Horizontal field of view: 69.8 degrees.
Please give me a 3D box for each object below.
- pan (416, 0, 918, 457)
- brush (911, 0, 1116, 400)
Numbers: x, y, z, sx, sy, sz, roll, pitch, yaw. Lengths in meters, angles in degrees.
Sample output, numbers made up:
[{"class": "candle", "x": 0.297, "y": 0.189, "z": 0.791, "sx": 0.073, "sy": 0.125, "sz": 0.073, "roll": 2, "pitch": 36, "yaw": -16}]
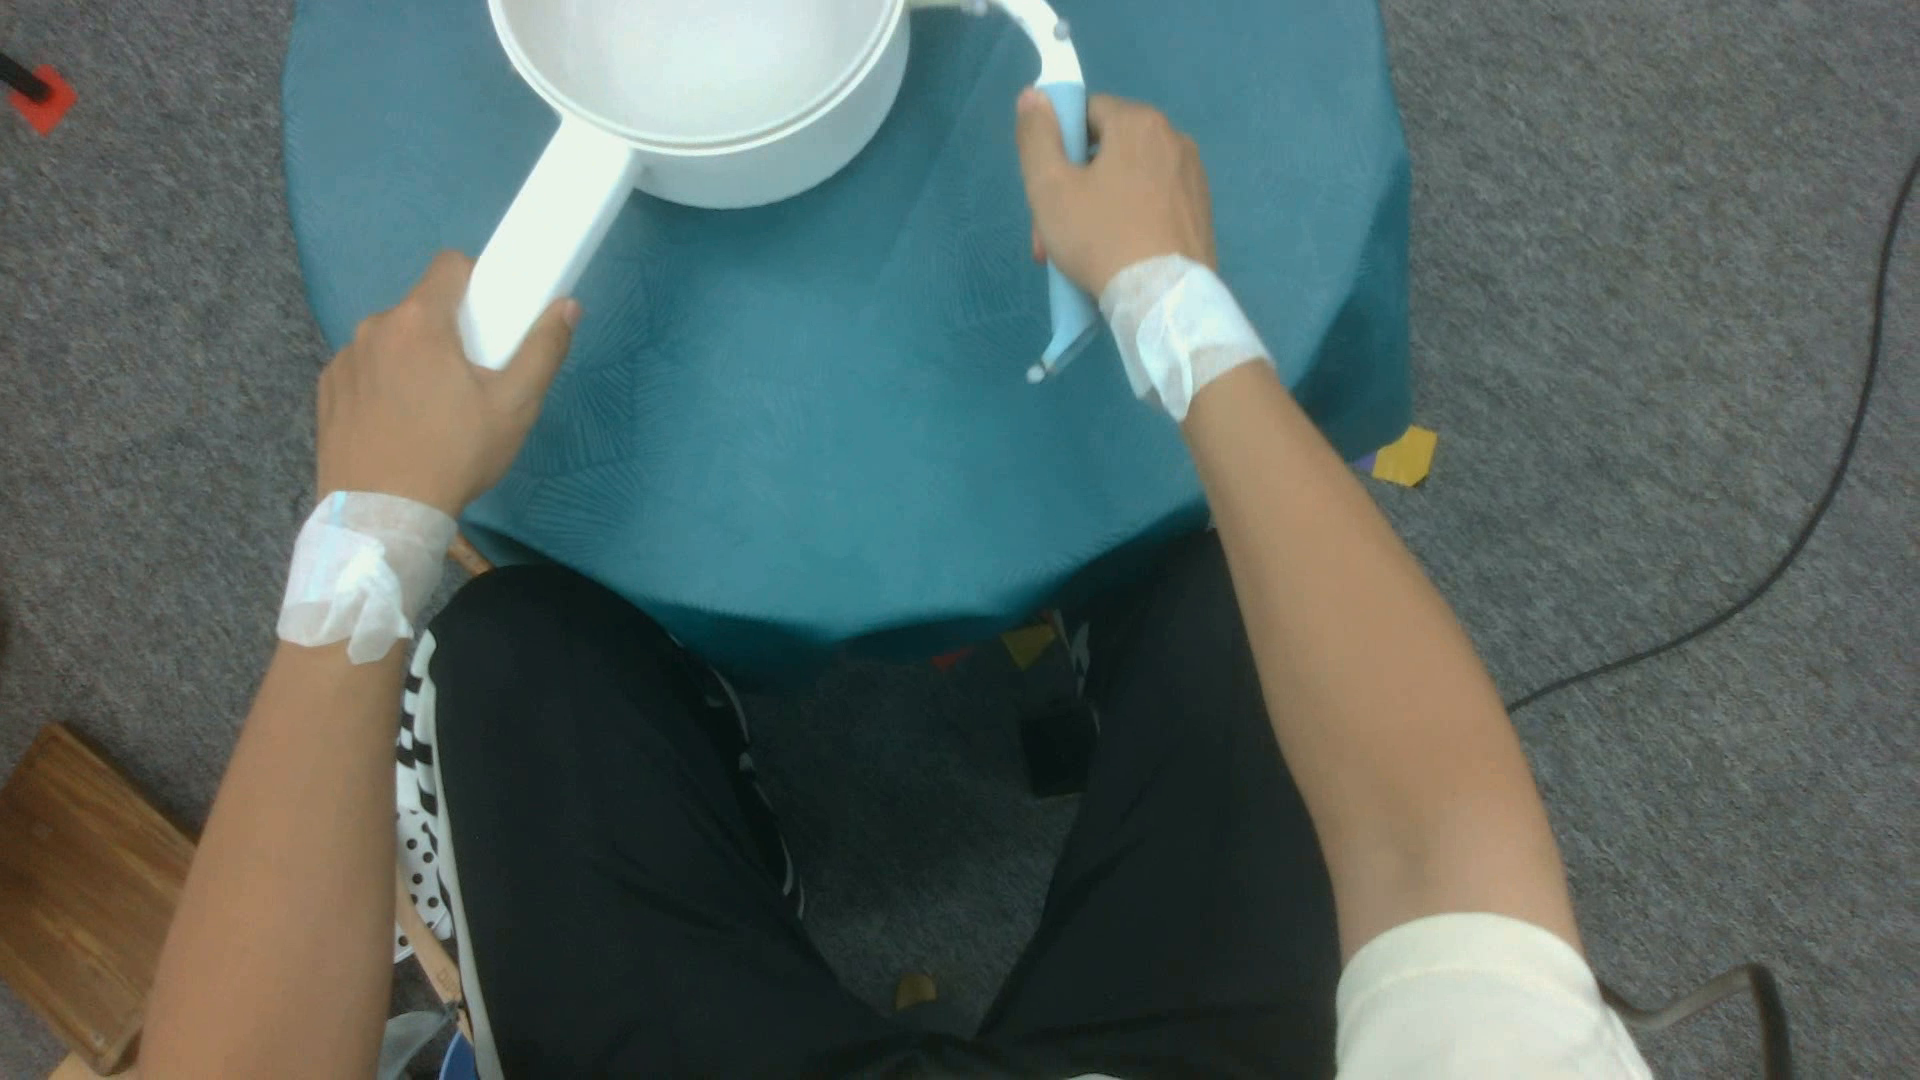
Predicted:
[{"class": "pan", "x": -0.155, "y": -0.198, "z": 0.705, "sx": 0.201, "sy": 0.102, "sz": 0.355, "roll": 26, "pitch": 82, "yaw": 5}, {"class": "brush", "x": 0.009, "y": -0.222, "z": 0.661, "sx": 0.084, "sy": 0.083, "sz": 0.326, "roll": -15, "pitch": 75, "yaw": 45}]
